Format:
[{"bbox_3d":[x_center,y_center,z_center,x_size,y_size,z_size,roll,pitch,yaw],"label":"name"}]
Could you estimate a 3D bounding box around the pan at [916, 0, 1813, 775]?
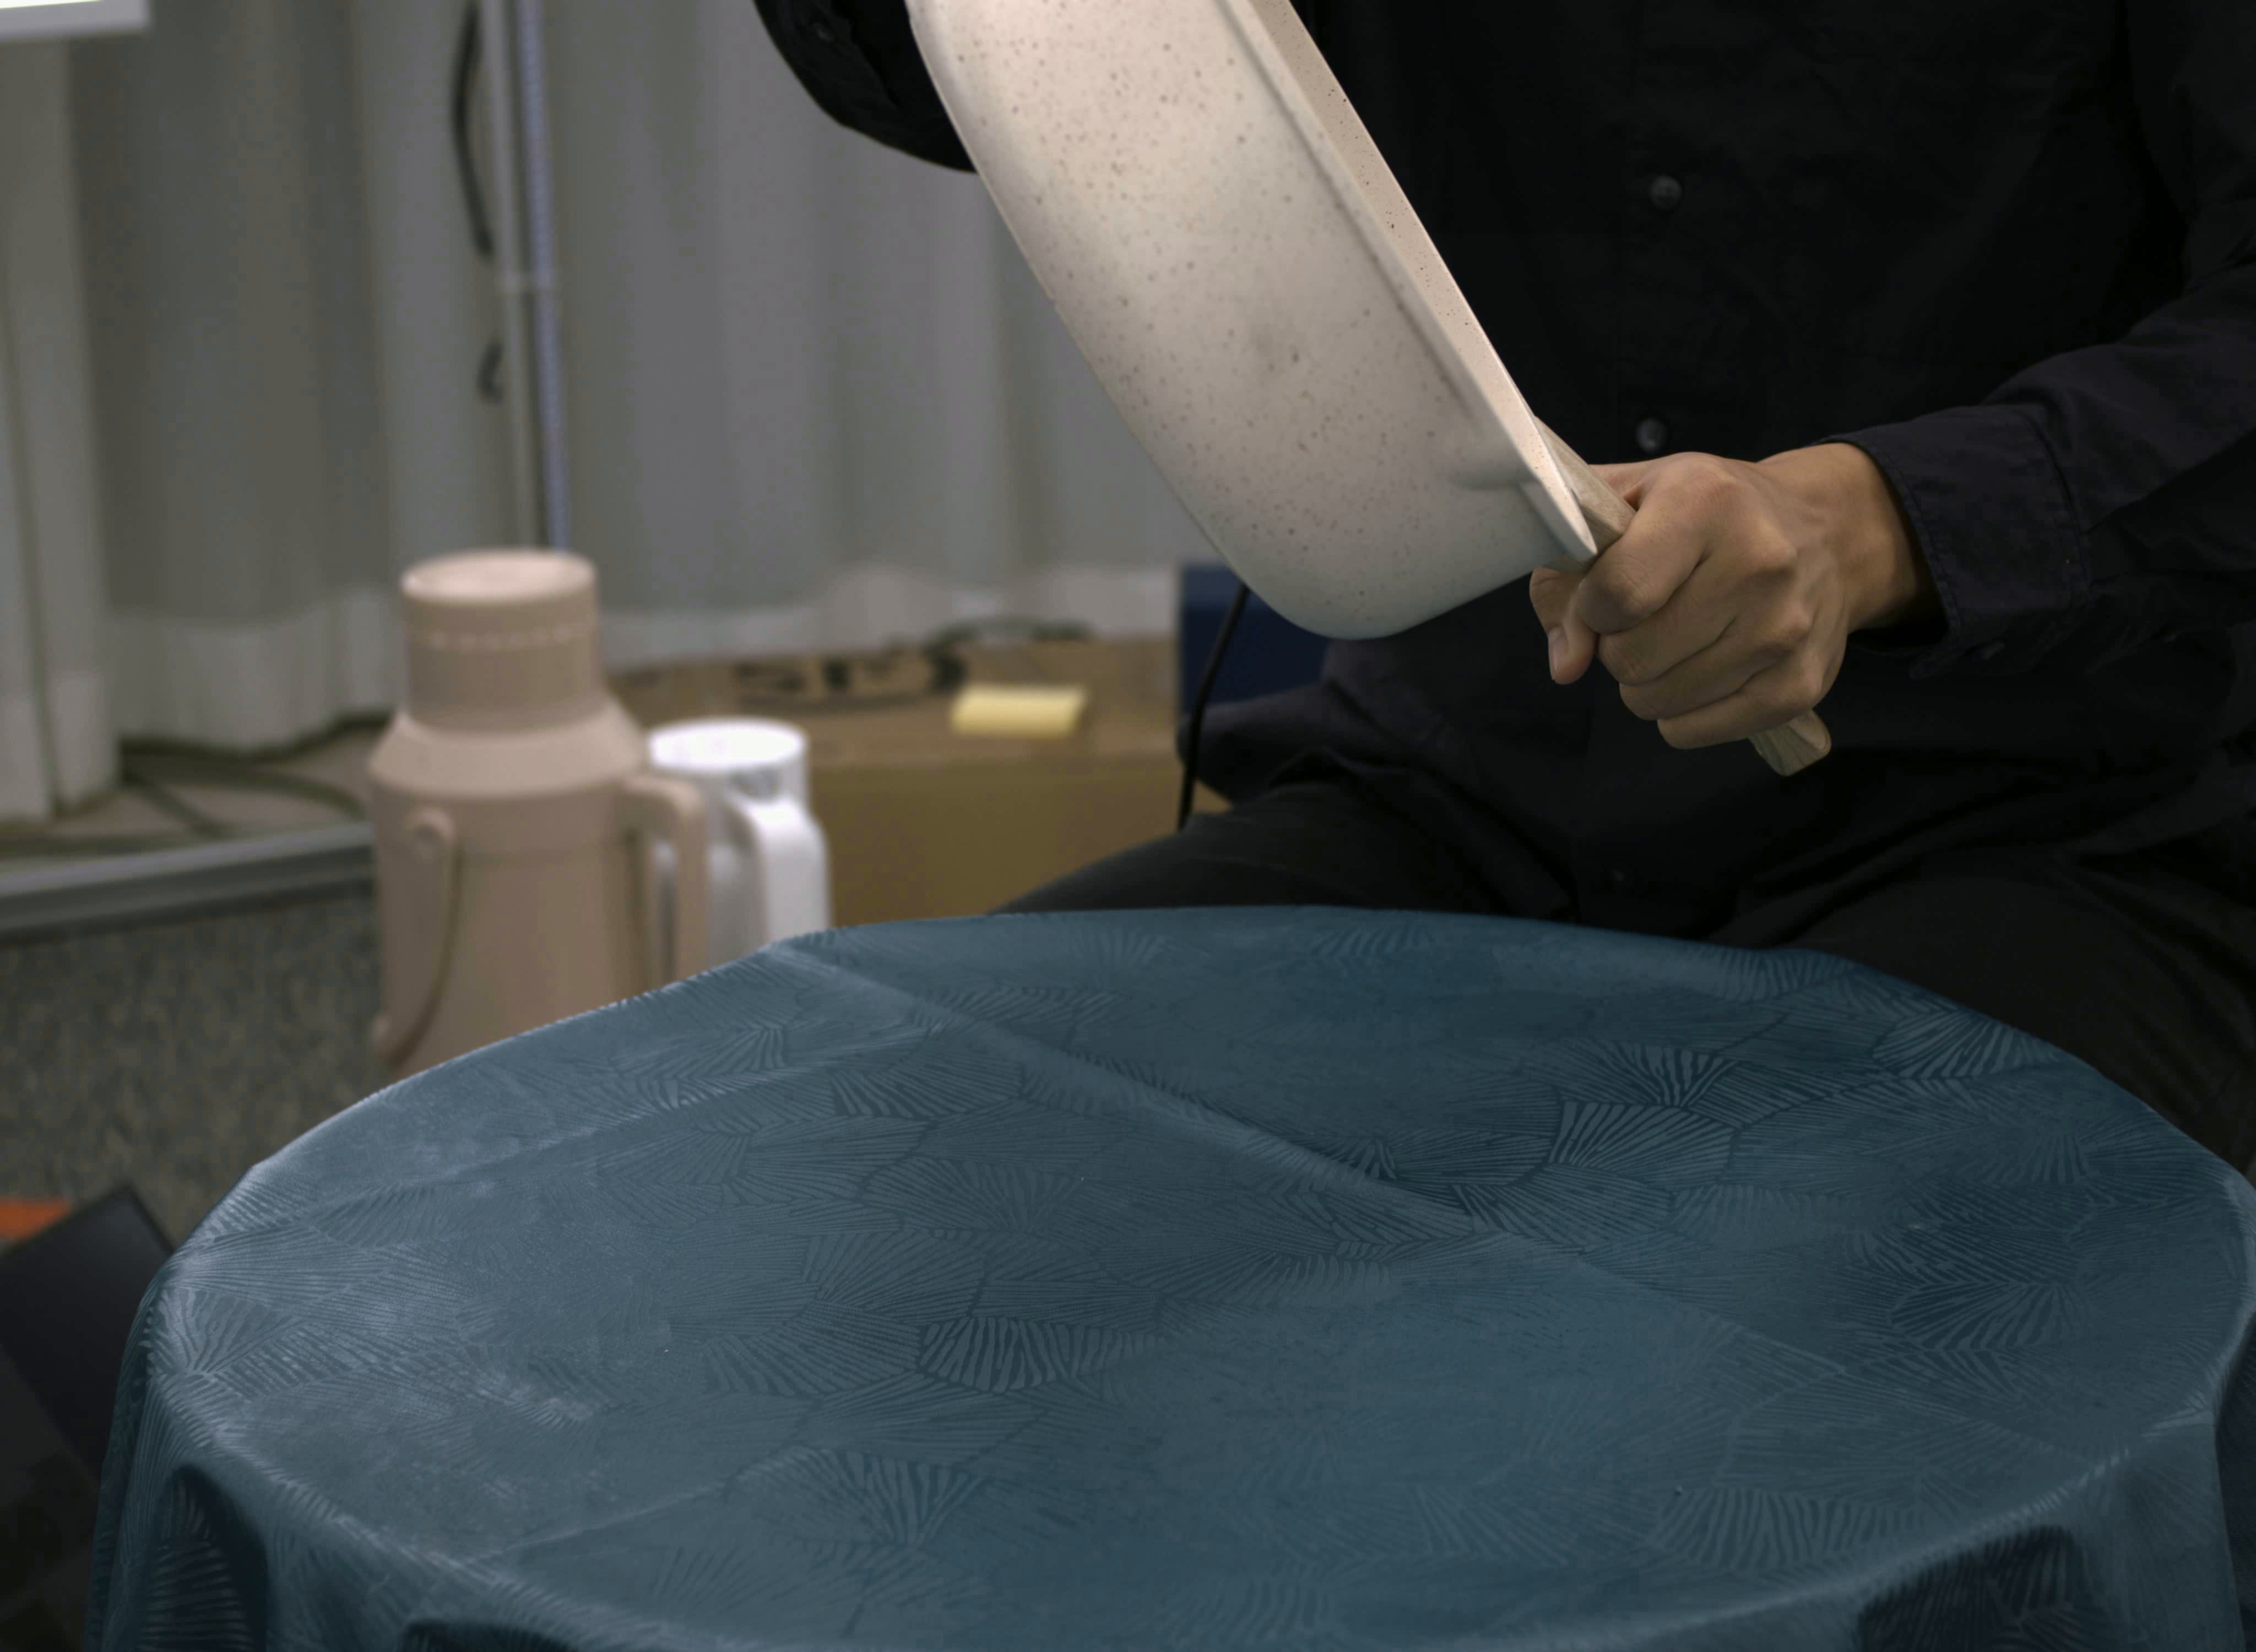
[{"bbox_3d":[0.073,-0.113,1.459,0.102,0.425,0.268,-32,47,7],"label":"pan"}]
